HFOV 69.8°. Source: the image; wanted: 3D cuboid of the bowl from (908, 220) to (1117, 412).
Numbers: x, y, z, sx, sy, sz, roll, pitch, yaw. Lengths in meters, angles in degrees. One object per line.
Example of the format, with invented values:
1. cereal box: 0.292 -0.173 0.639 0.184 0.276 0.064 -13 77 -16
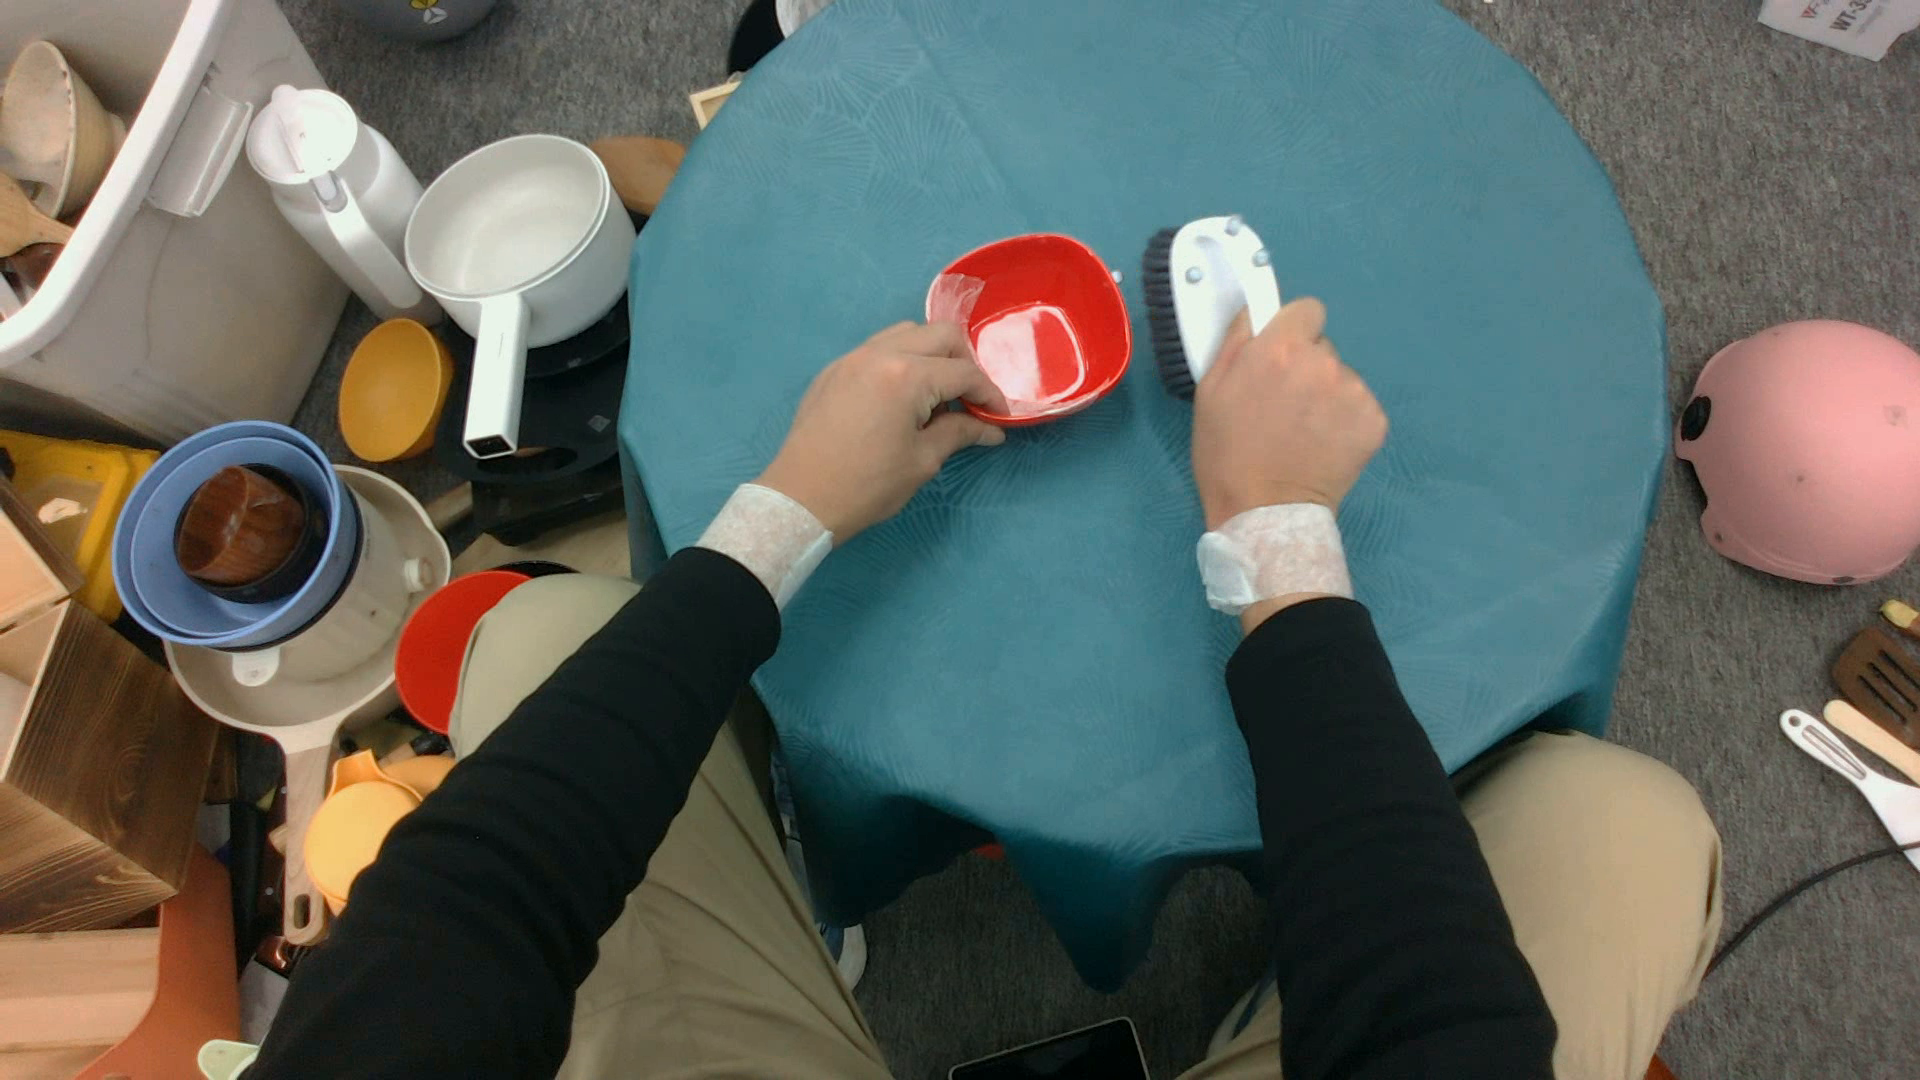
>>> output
1. bowl: 0.029 -0.118 0.776 0.119 0.051 0.119 0 70 1

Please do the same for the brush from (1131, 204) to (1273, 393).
1. brush: 0.132 -0.126 0.718 0.050 0.072 0.099 -14 101 -28
